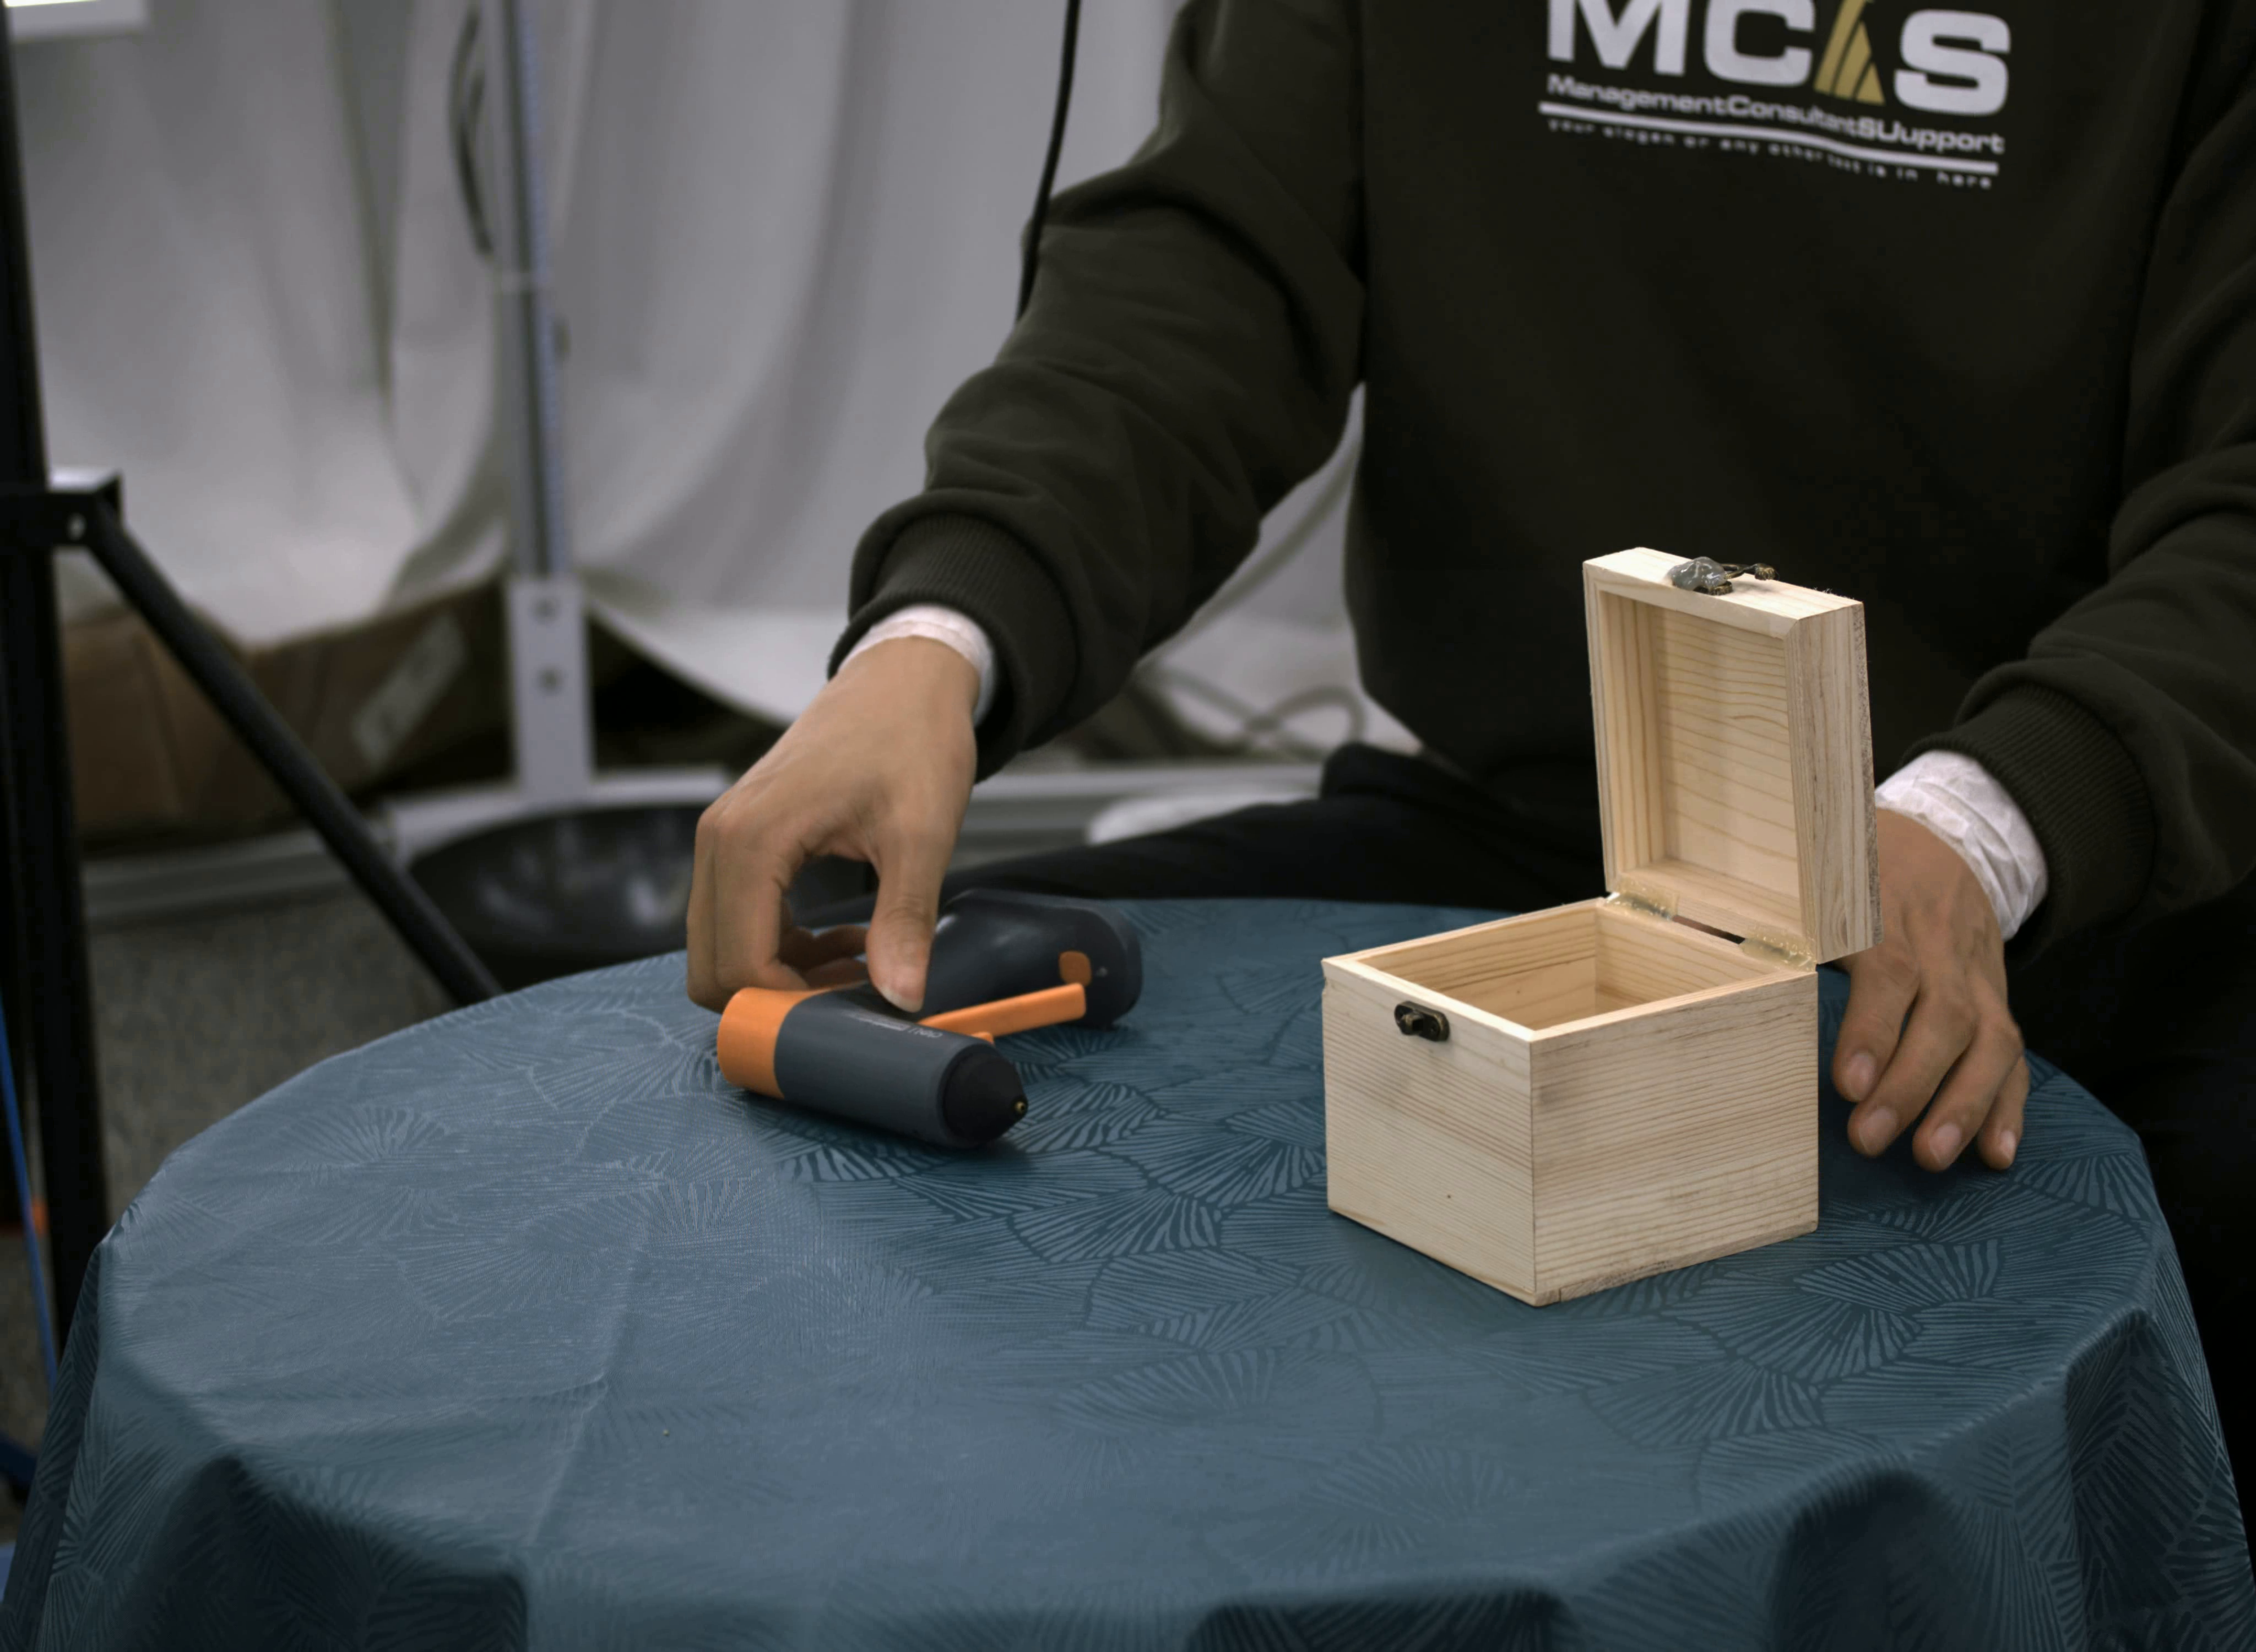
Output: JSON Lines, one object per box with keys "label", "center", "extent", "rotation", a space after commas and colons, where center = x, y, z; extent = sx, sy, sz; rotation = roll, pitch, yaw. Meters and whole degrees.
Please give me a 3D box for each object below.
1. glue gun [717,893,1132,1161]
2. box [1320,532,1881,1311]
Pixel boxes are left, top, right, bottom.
{"label": "glue gun", "center": [-0.055, 0.064, 1.662], "extent": [0.120, 0.041, 0.137], "rotation": [8, 21, 27]}
{"label": "box", "center": [0.130, 0.023, 1.494], "extent": [0.131, 0.184, 0.105], "rotation": [-13, 19, -31]}
